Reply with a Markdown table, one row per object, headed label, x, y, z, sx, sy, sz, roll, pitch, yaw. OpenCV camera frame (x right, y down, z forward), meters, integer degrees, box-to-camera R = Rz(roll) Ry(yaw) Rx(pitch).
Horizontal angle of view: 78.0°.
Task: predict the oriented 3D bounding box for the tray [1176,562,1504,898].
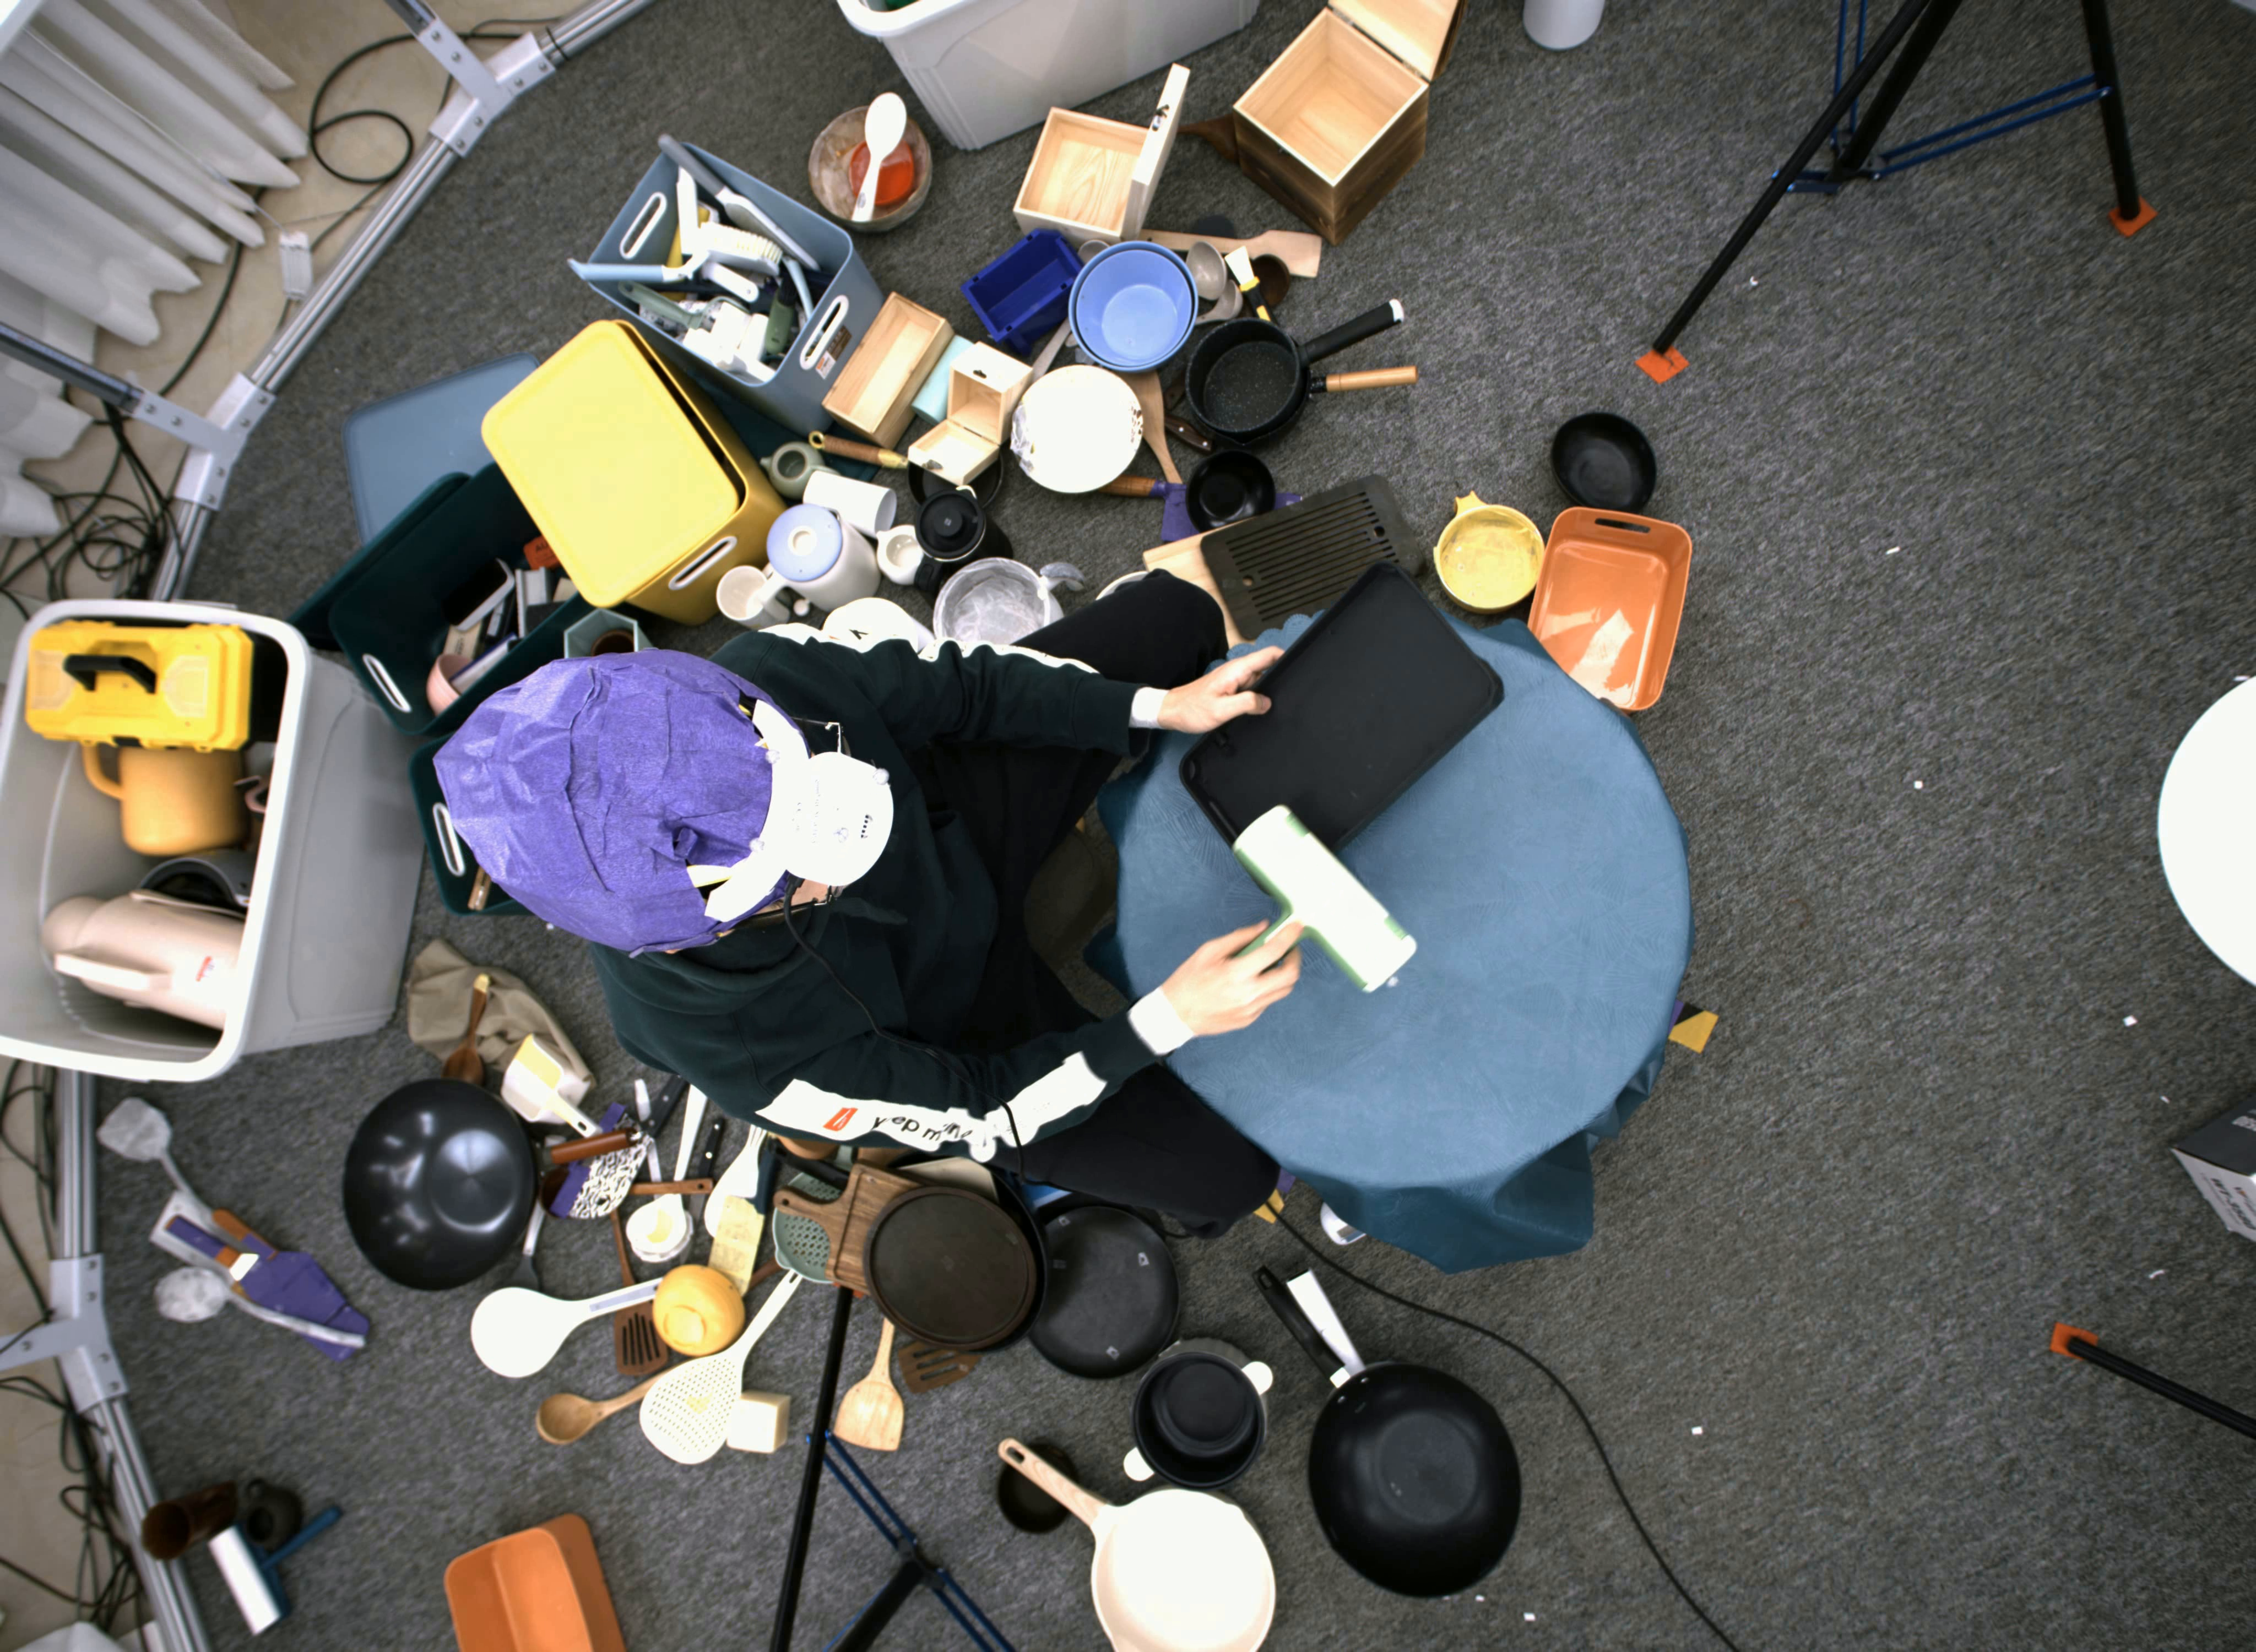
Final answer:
| label | x | y | z | sx | sy | sz | roll | pitch | yaw |
| --- | --- | --- | --- | --- | --- | --- | --- | --- | --- |
| tray | 0.199 | -0.089 | 1.346 | 0.324 | 0.036 | 0.182 | -45 | 71 | 30 |

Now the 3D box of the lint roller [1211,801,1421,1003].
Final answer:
| label | x | y | z | sx | sy | sz | roll | pitch | yaw |
| --- | --- | --- | --- | --- | --- | --- | --- | --- | --- |
| lint roller | 0.148 | 0.102 | 1.319 | 0.183 | 0.082 | 0.197 | -42 | 79 | 0 |
